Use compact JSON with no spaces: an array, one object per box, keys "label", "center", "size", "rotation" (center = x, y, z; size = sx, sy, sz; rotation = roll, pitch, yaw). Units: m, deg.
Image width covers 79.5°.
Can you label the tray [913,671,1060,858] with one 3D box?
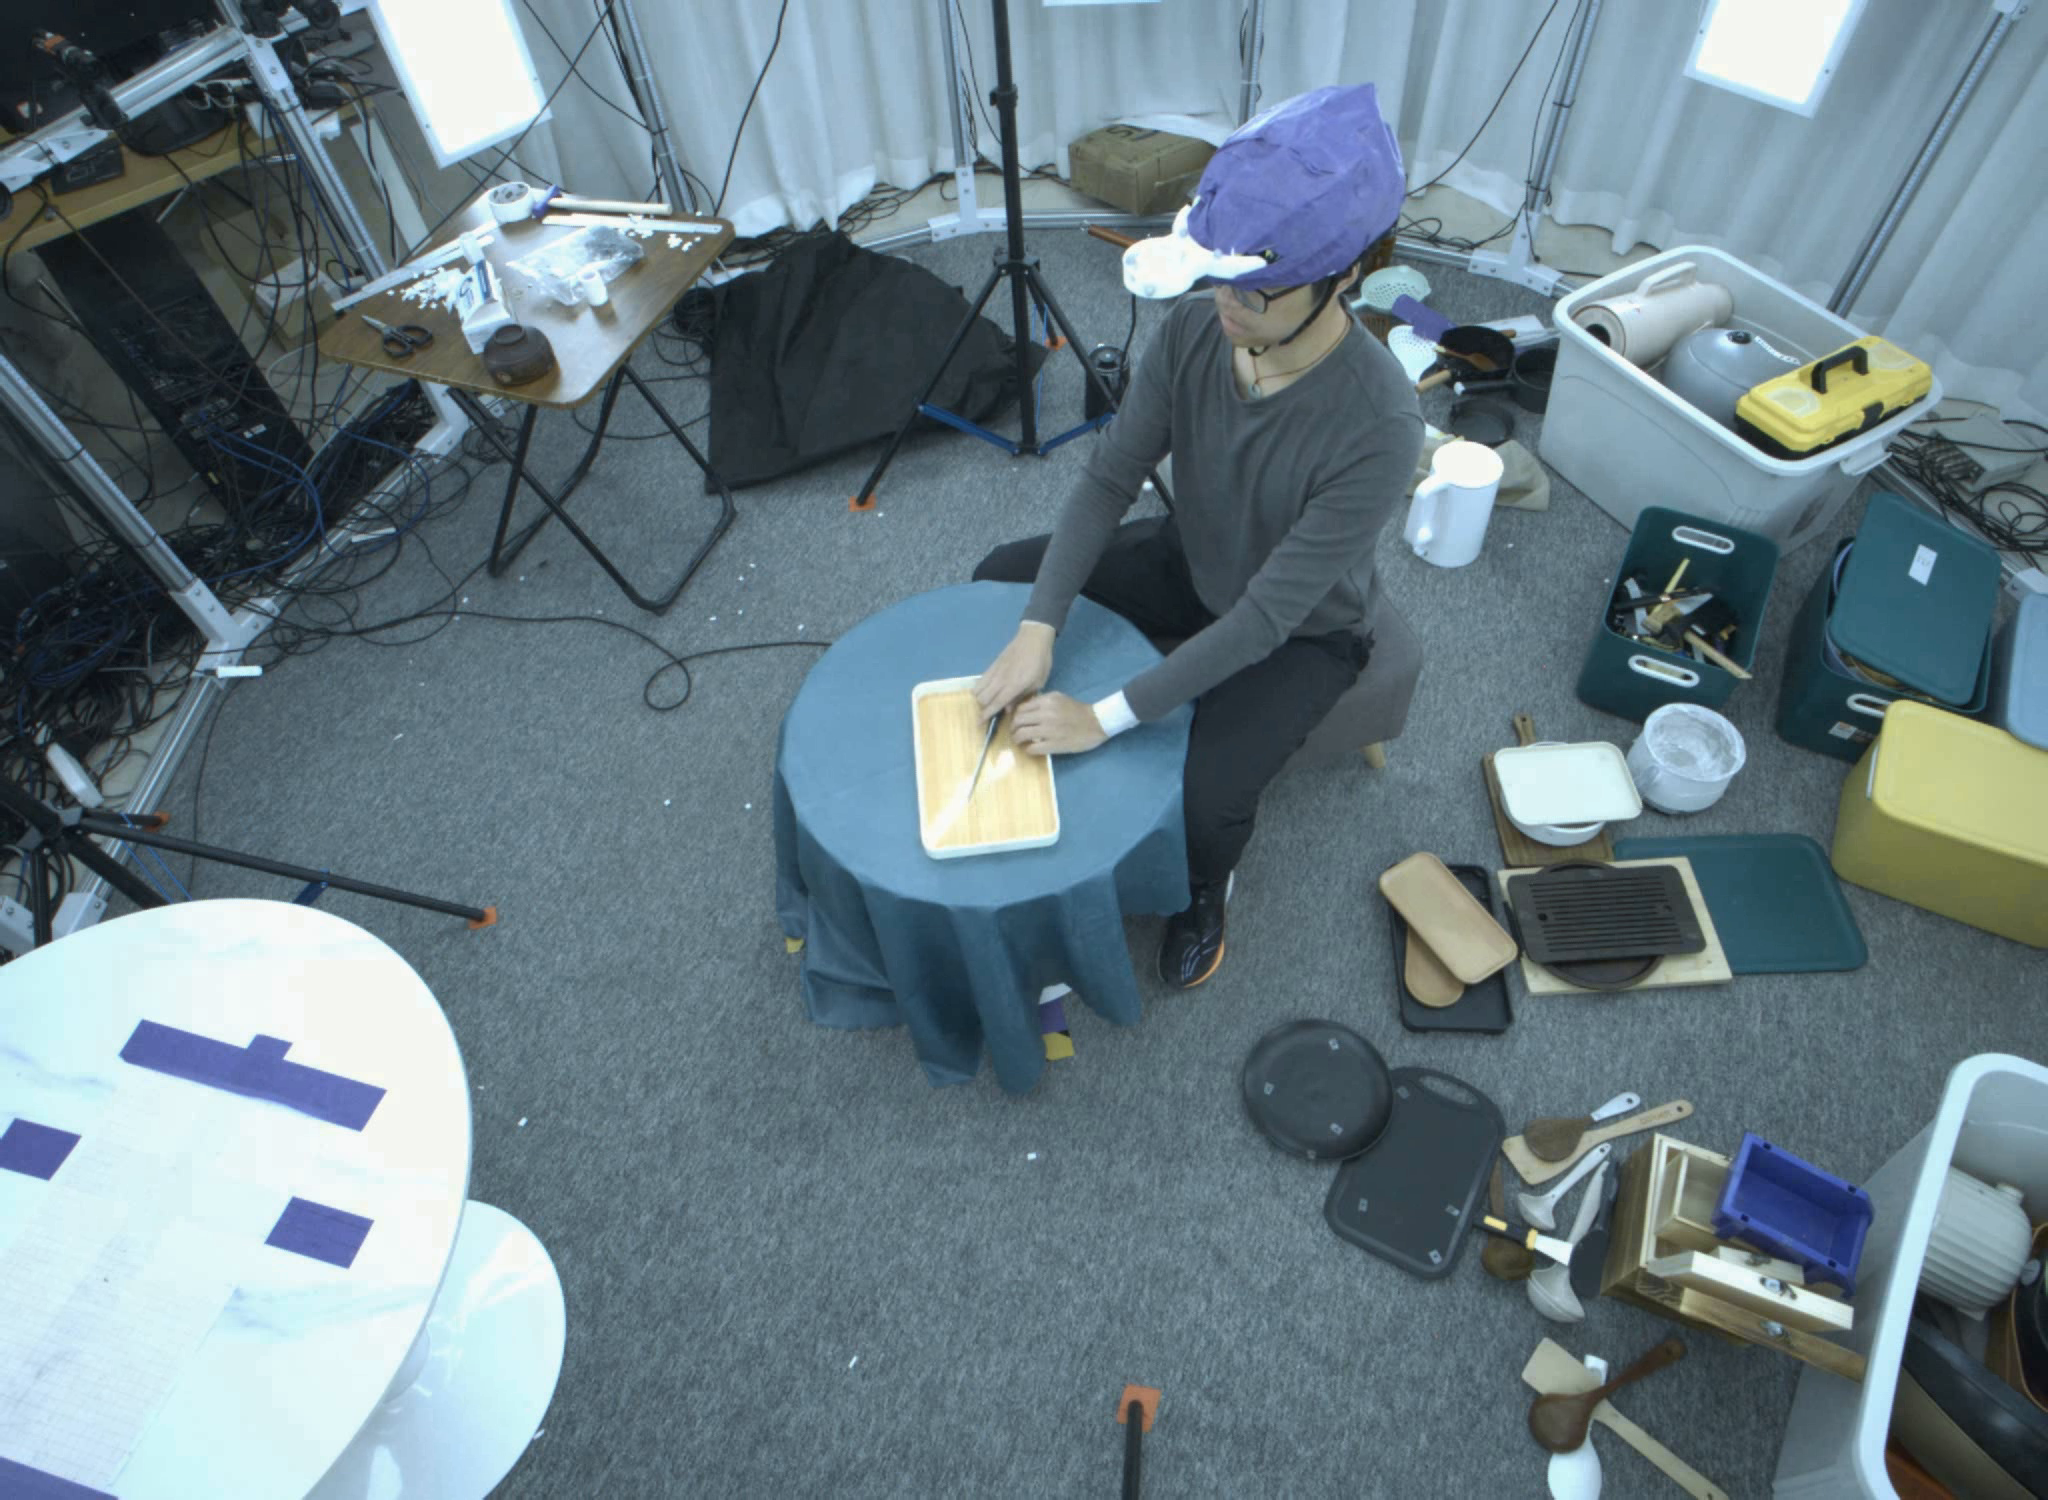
[{"label":"tray","center":[-0.058,0.015,1.770],"size":[0.192,0.027,0.296],"rotation":[-5,55,-3]}]

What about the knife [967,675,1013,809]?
[{"label":"knife","center":[-0.051,-0.016,1.763],"size":[0.016,0.025,0.237],"rotation":[11,57,8]}]
